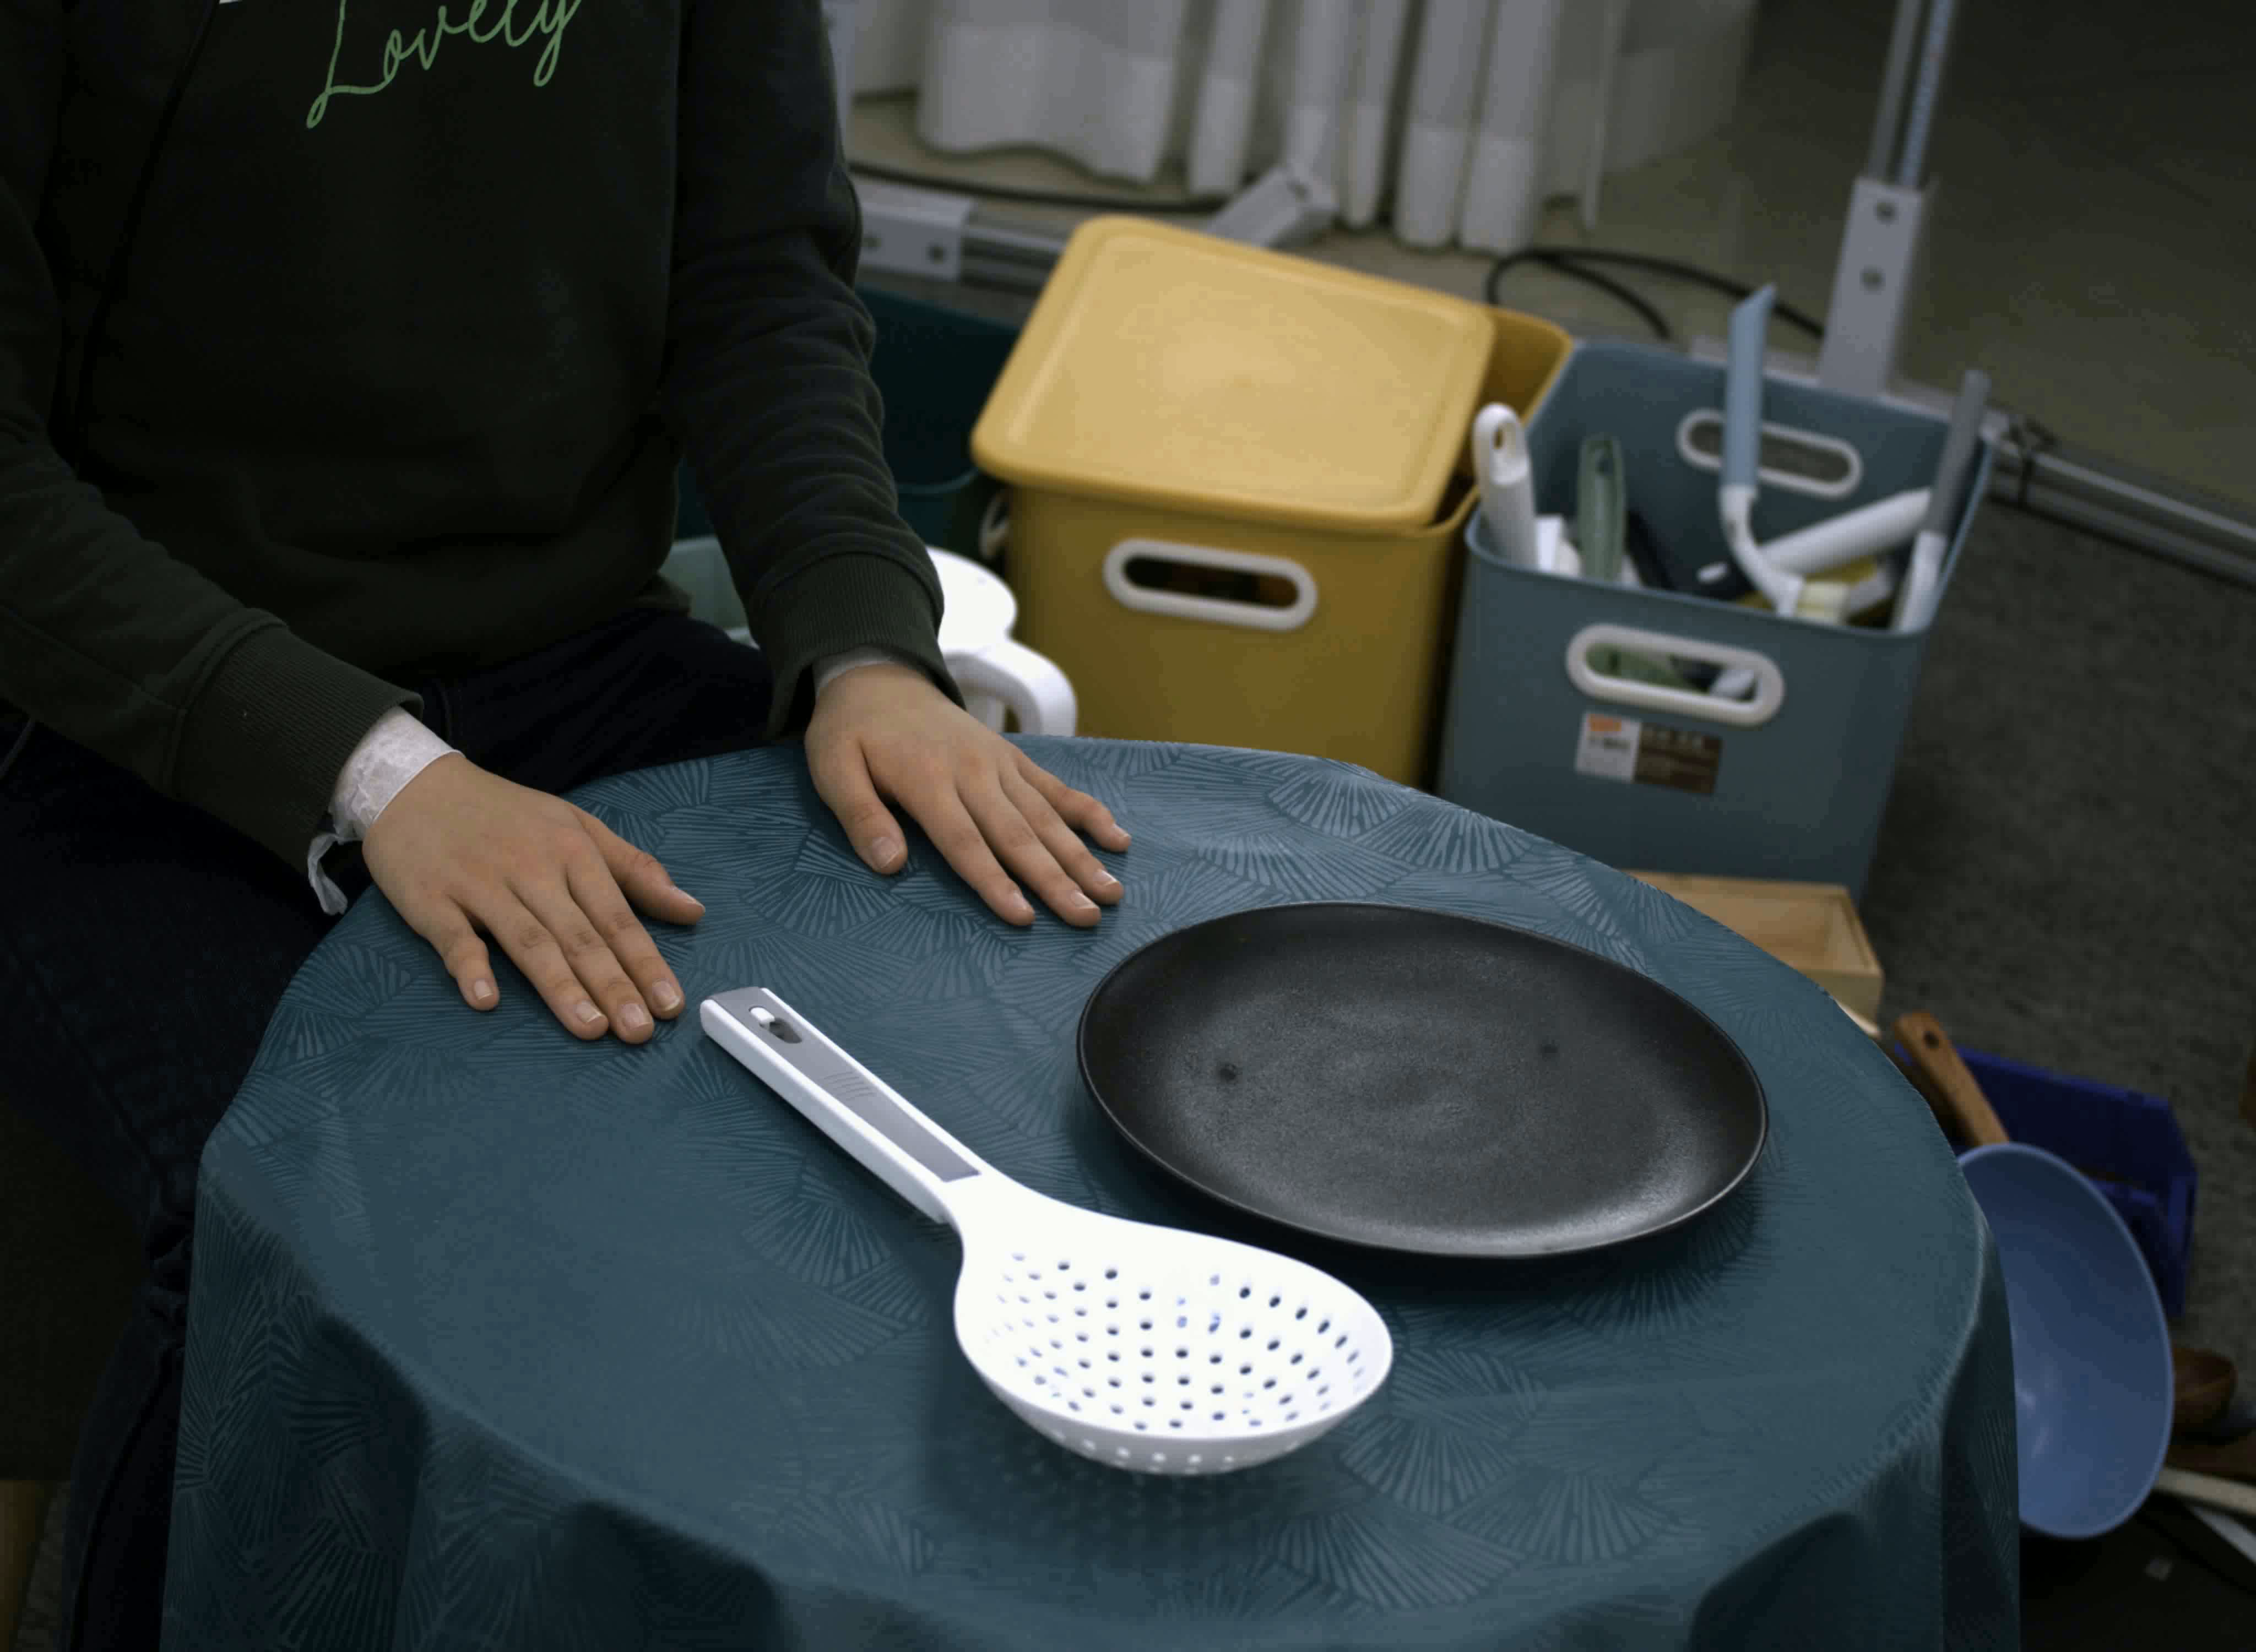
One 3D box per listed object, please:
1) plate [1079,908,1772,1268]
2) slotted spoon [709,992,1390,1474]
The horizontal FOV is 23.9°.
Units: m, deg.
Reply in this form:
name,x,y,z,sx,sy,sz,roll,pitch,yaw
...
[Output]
name,x,y,z,sx,sy,sz,roll,pitch,yaw
plate,0.102,0.094,1.855,0.243,0.023,0.246,5,27,-3
slotted spoon,-0.045,0.126,1.735,0.135,0.045,0.353,-9,29,-31
